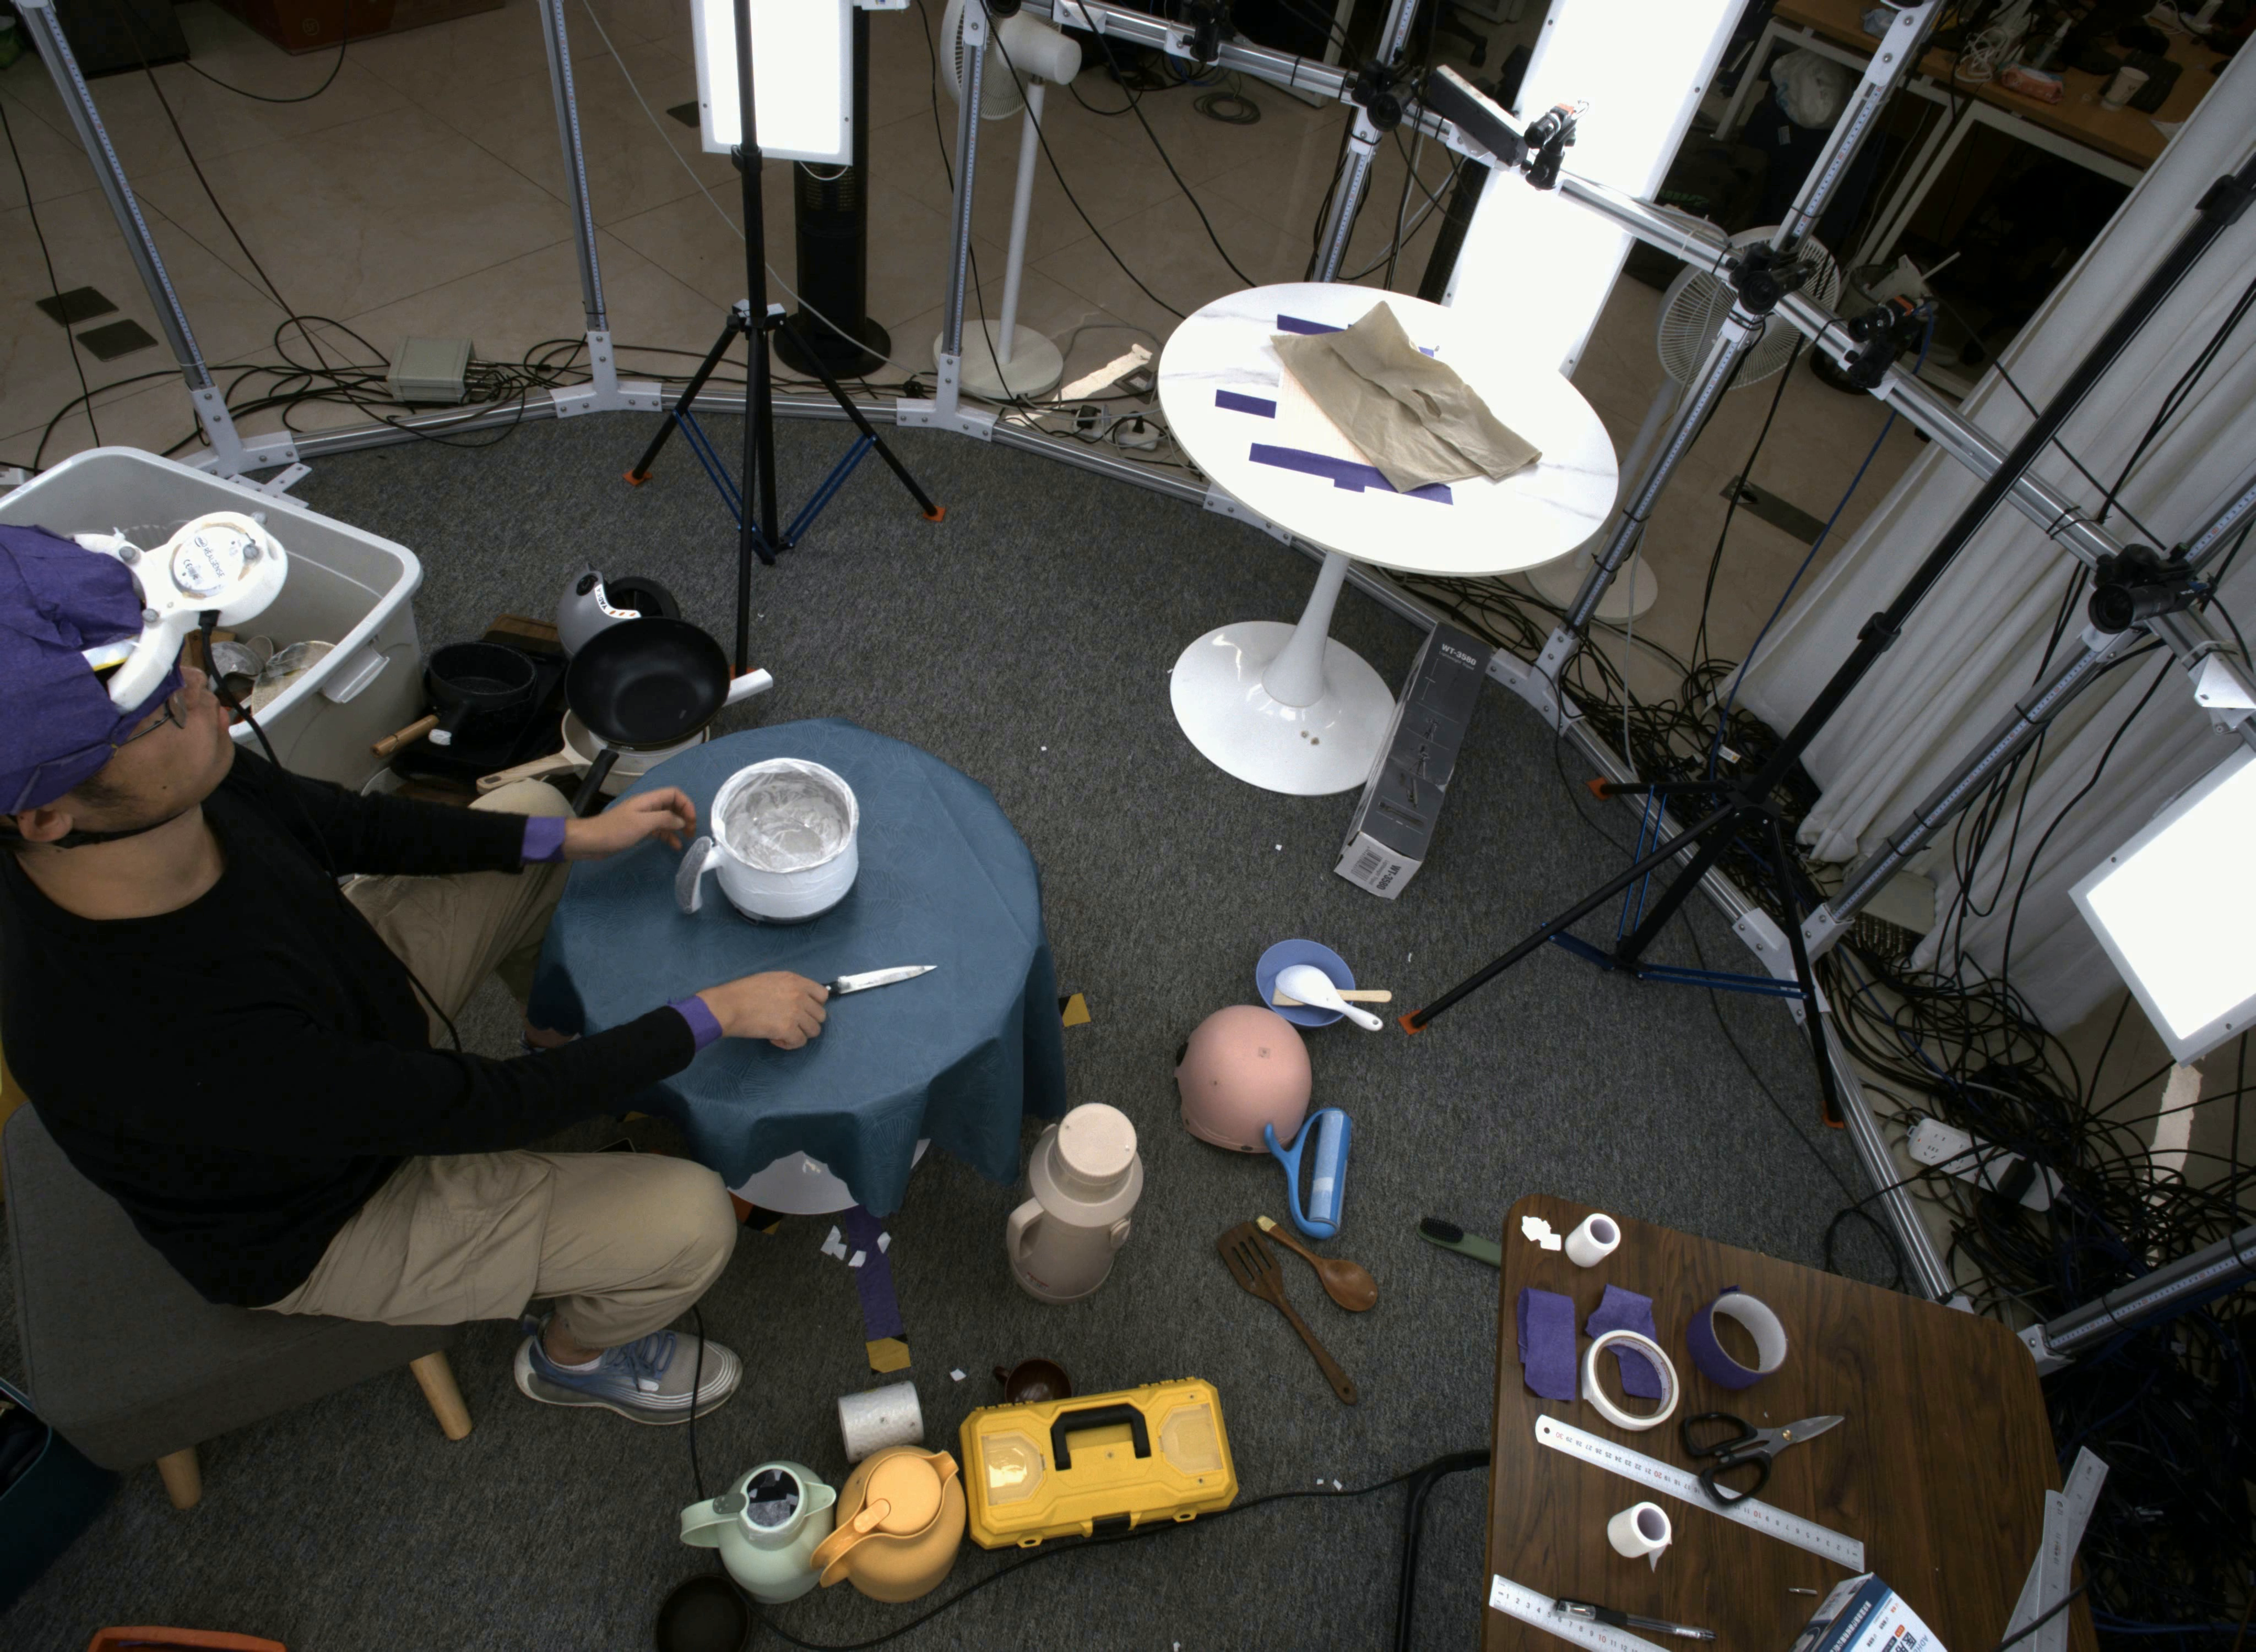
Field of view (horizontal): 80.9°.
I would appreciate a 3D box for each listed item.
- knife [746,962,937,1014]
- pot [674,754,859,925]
[{"bbox_3d":[-0.347,0.194,1.589,0.240,0.016,0.024,-11,58,-25],"label":"knife"},{"bbox_3d":[-0.448,0.029,1.601,0.235,0.139,0.174,-23,61,-29],"label":"pot"}]
